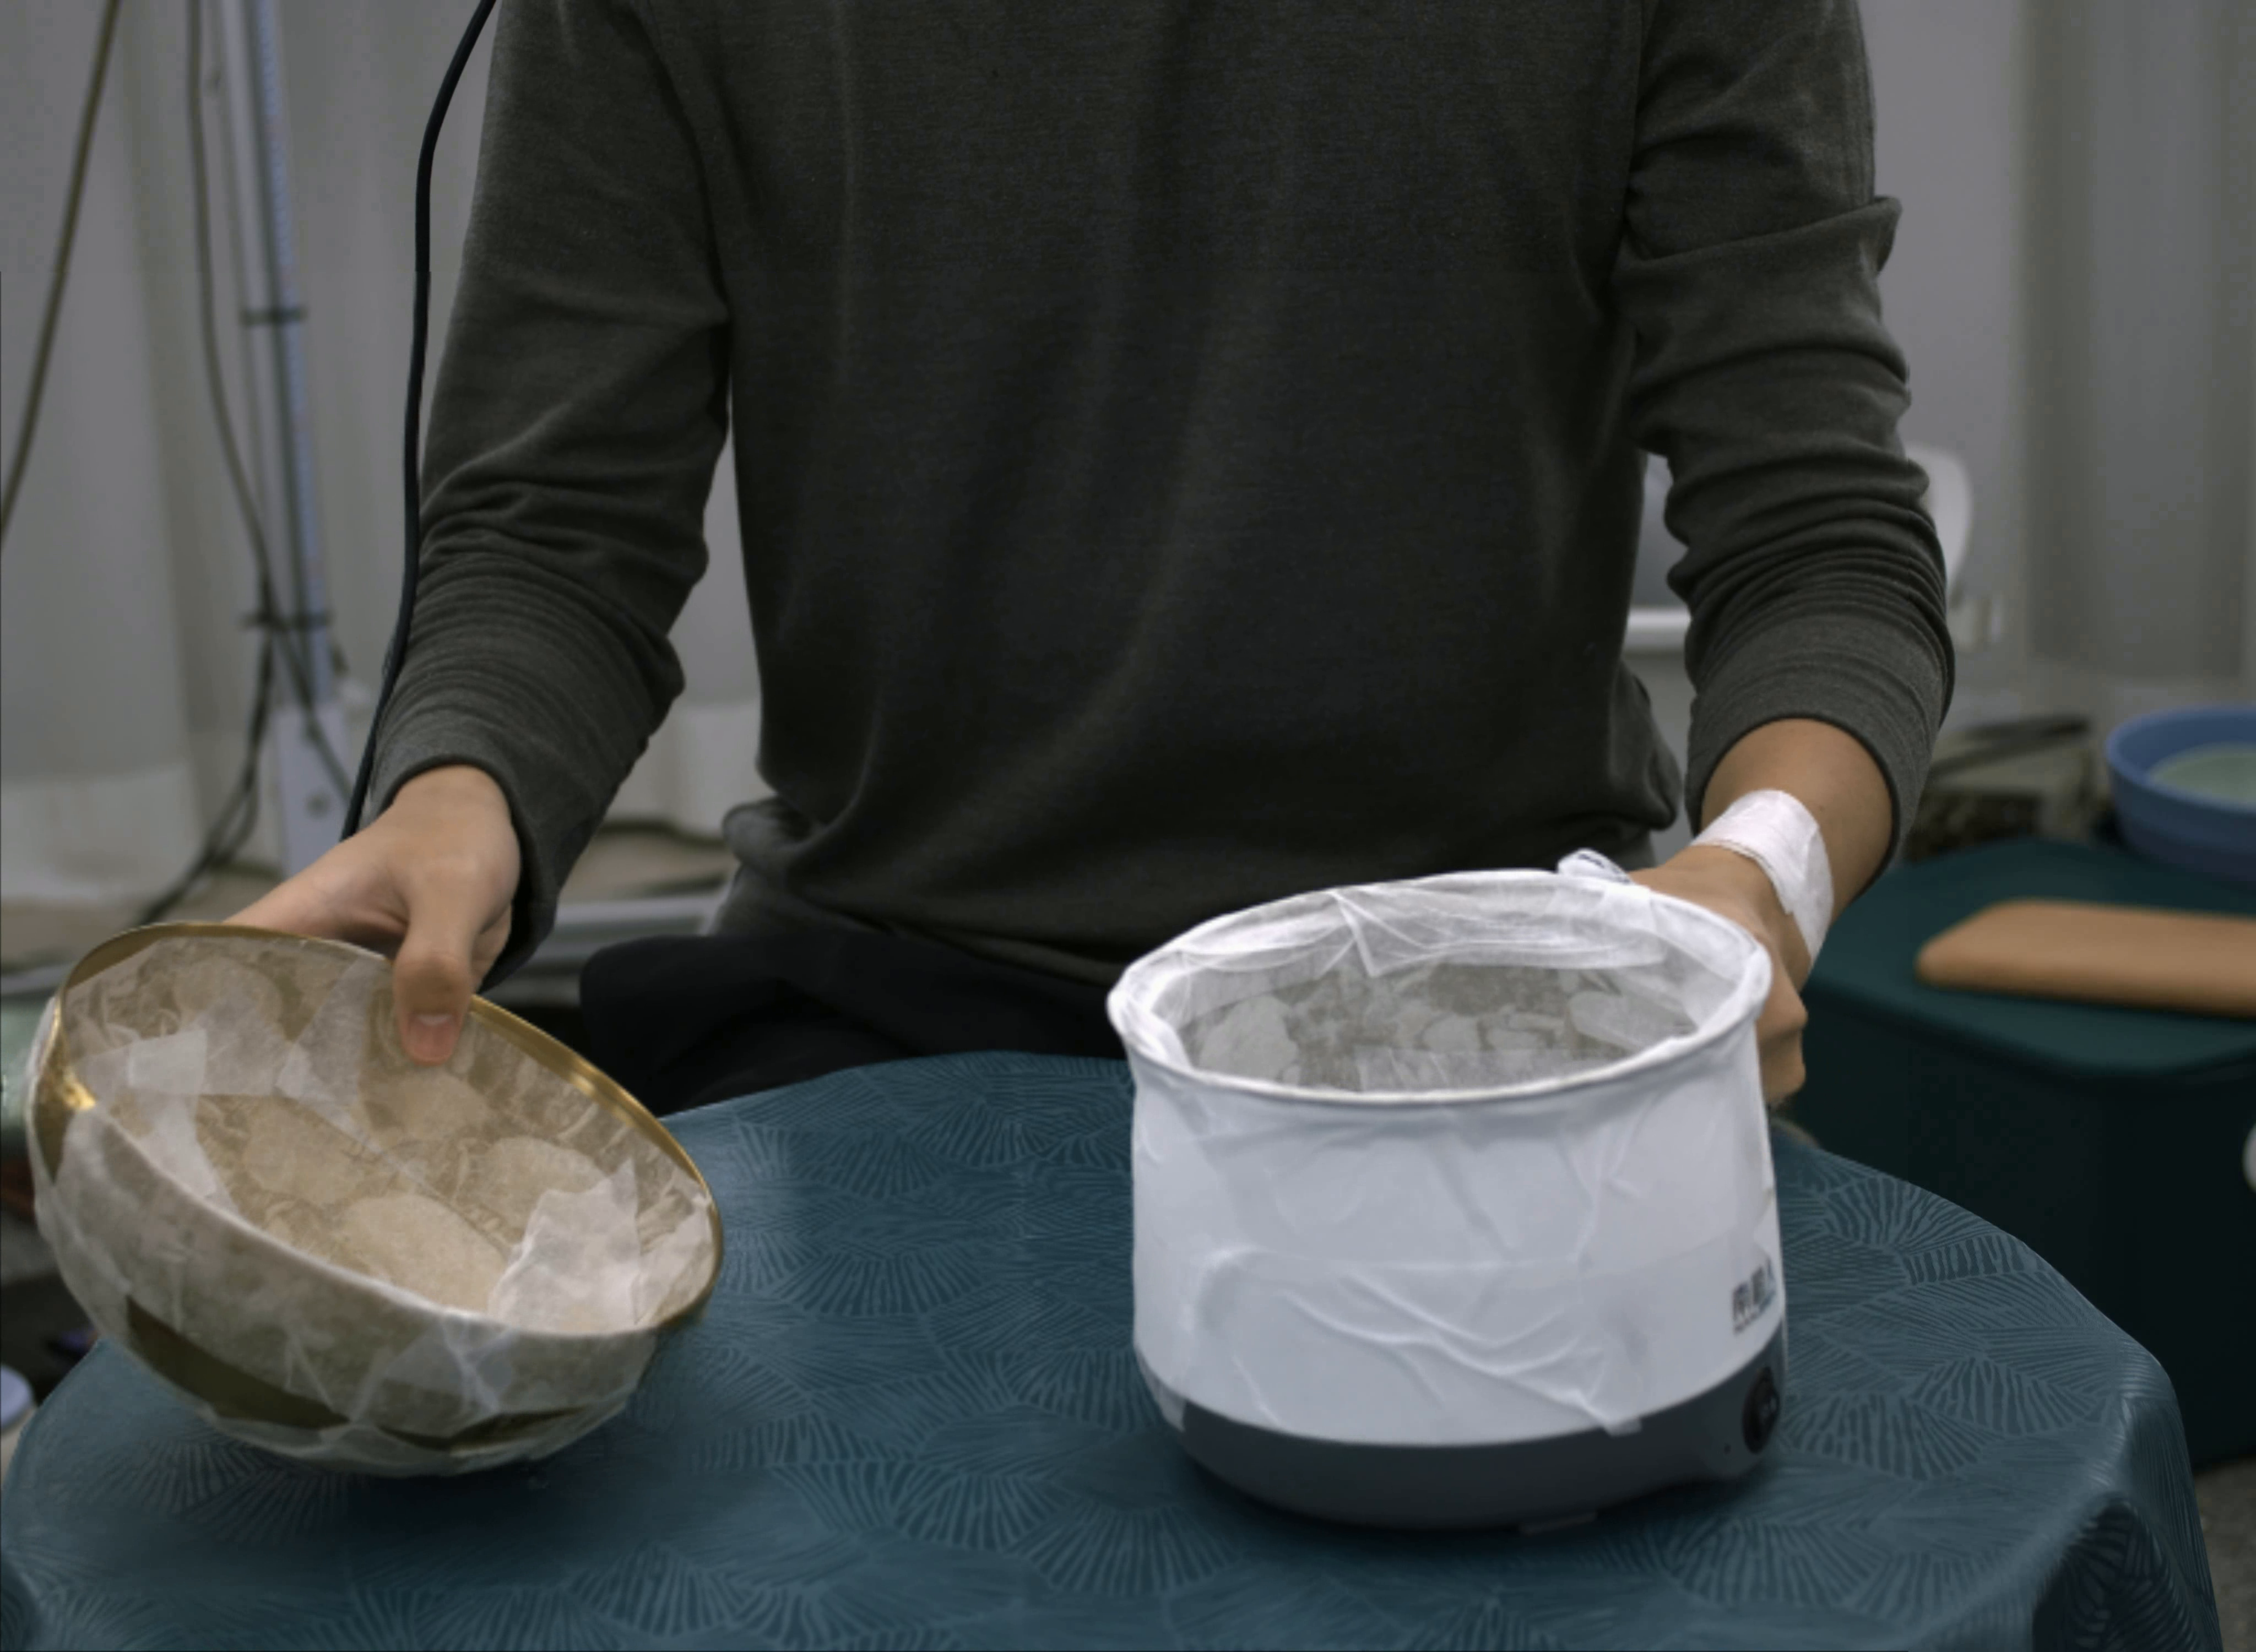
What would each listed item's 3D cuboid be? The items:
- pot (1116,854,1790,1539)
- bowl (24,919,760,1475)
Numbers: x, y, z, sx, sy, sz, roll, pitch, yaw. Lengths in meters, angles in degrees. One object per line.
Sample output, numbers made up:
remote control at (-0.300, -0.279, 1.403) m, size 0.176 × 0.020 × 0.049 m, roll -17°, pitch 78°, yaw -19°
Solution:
pot at (0.101, 0.094, 1.499) m, size 0.179 × 0.136 × 0.234 m, roll 4°, pitch 19°, yaw 27°
bowl at (-0.218, 0.116, 1.523) m, size 0.213 × 0.094 × 0.217 m, roll 22°, pitch 19°, yaw -8°
